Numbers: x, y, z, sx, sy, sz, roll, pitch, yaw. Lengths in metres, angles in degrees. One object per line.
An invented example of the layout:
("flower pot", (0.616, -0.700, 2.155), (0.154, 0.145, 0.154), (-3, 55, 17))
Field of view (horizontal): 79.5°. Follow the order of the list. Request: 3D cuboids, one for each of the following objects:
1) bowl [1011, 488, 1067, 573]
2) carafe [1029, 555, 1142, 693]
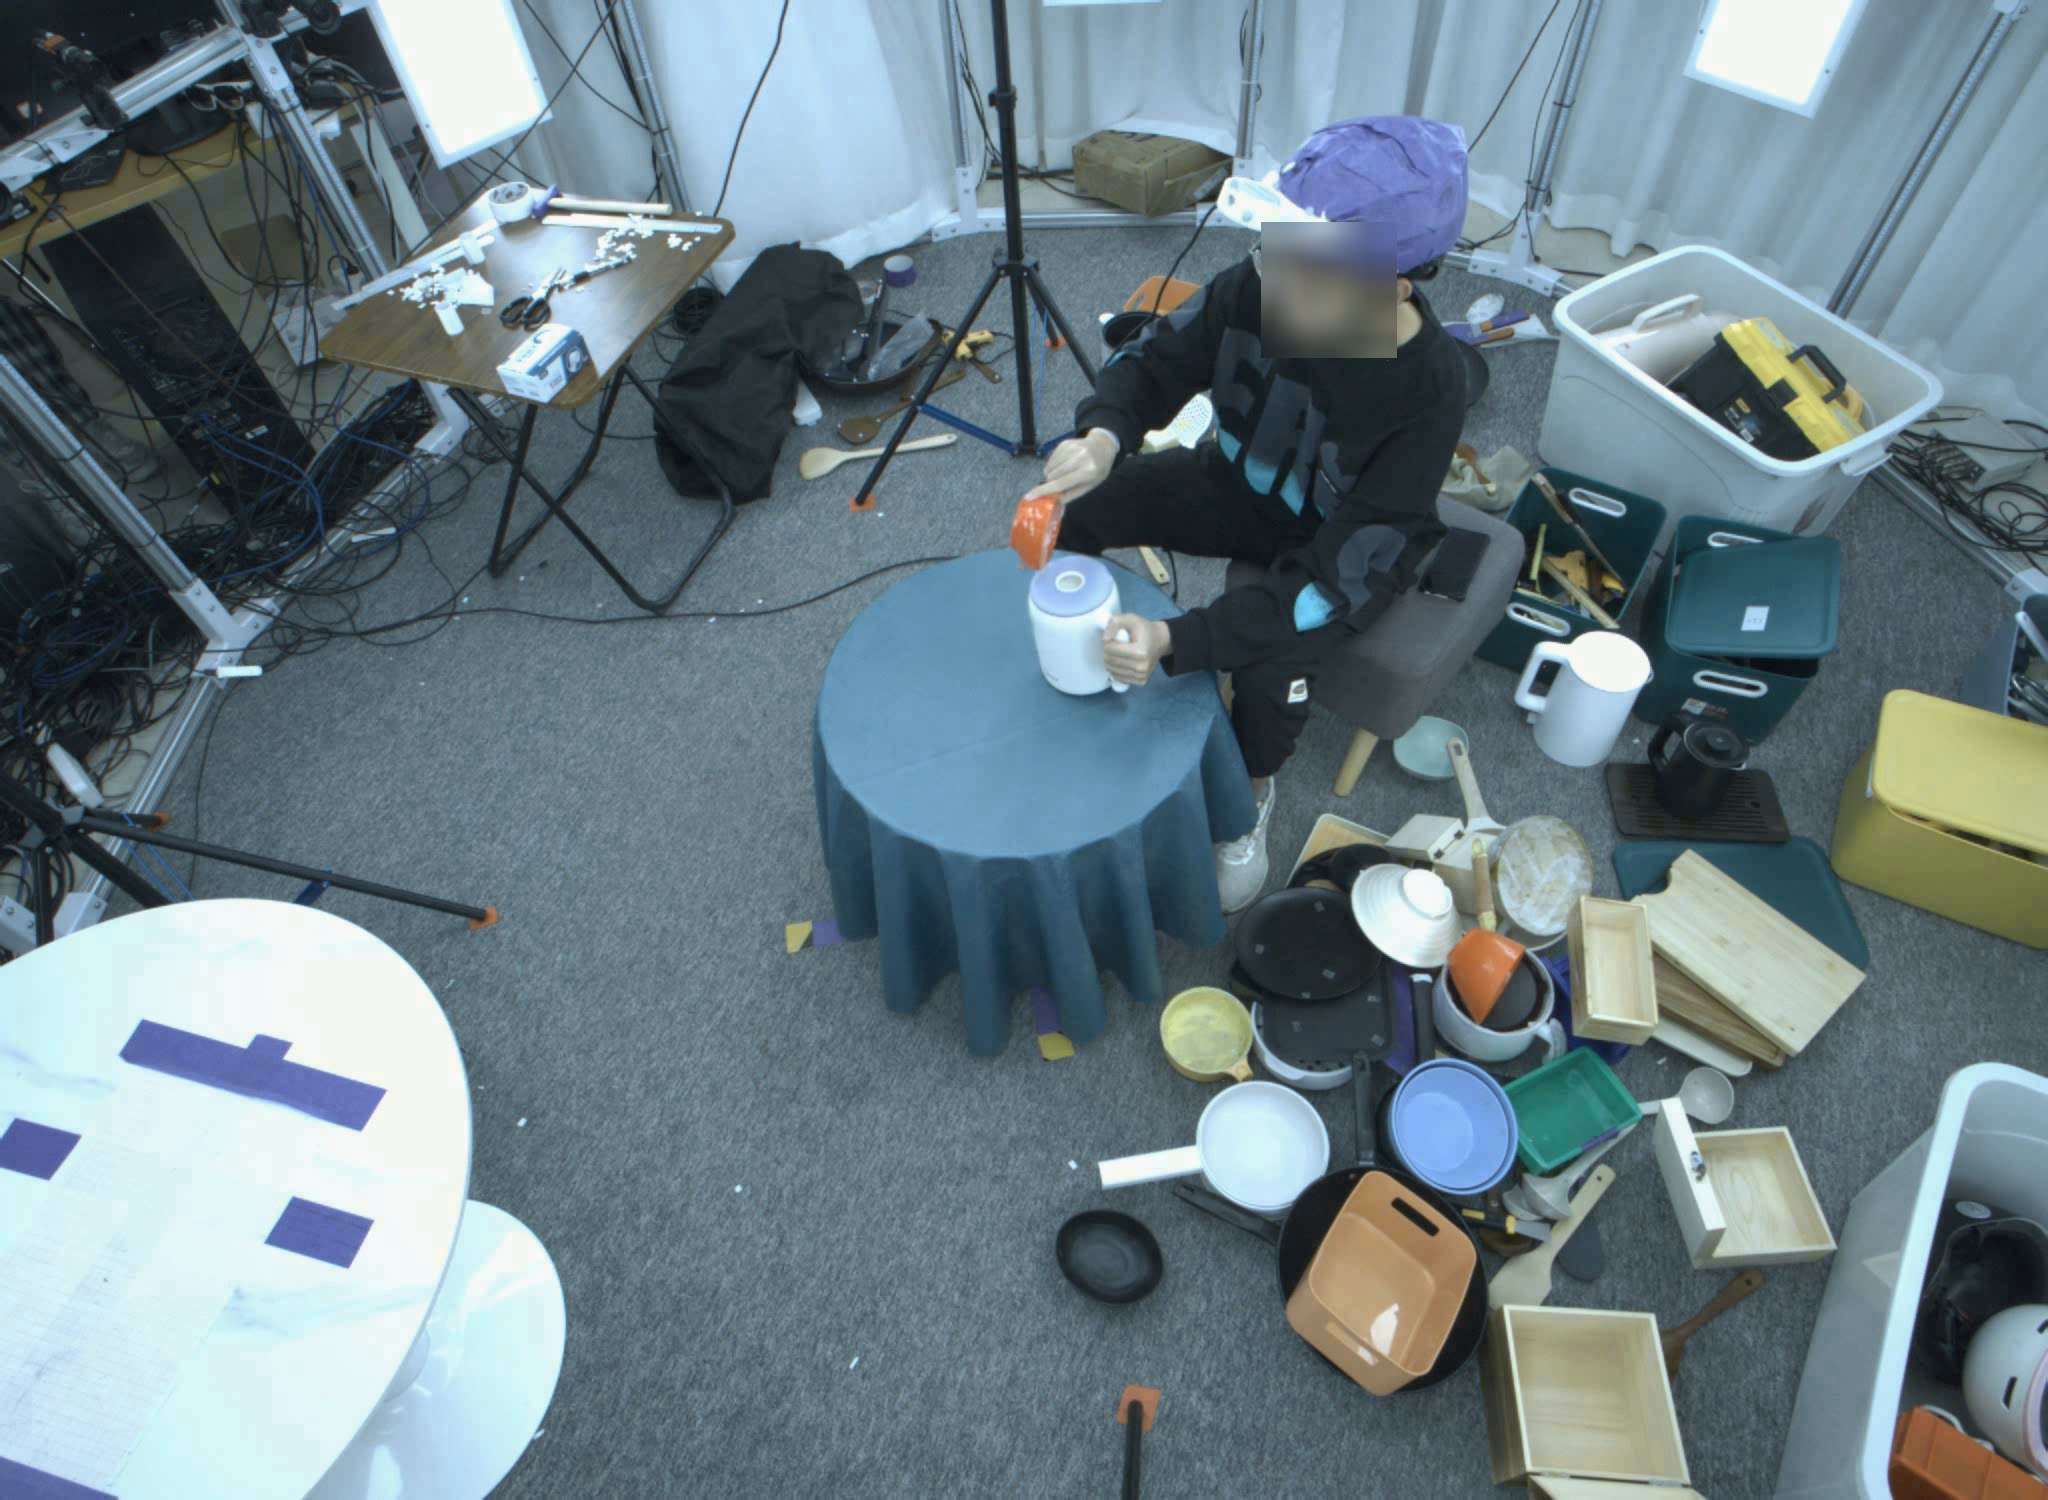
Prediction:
("bowl", (0.016, -0.307, 1.678), (0.051, 0.120, 0.119), (17, 57, 10))
("carafe", (0.096, -0.171, 1.788), (0.133, 0.185, 0.187), (-41, 60, -19))
